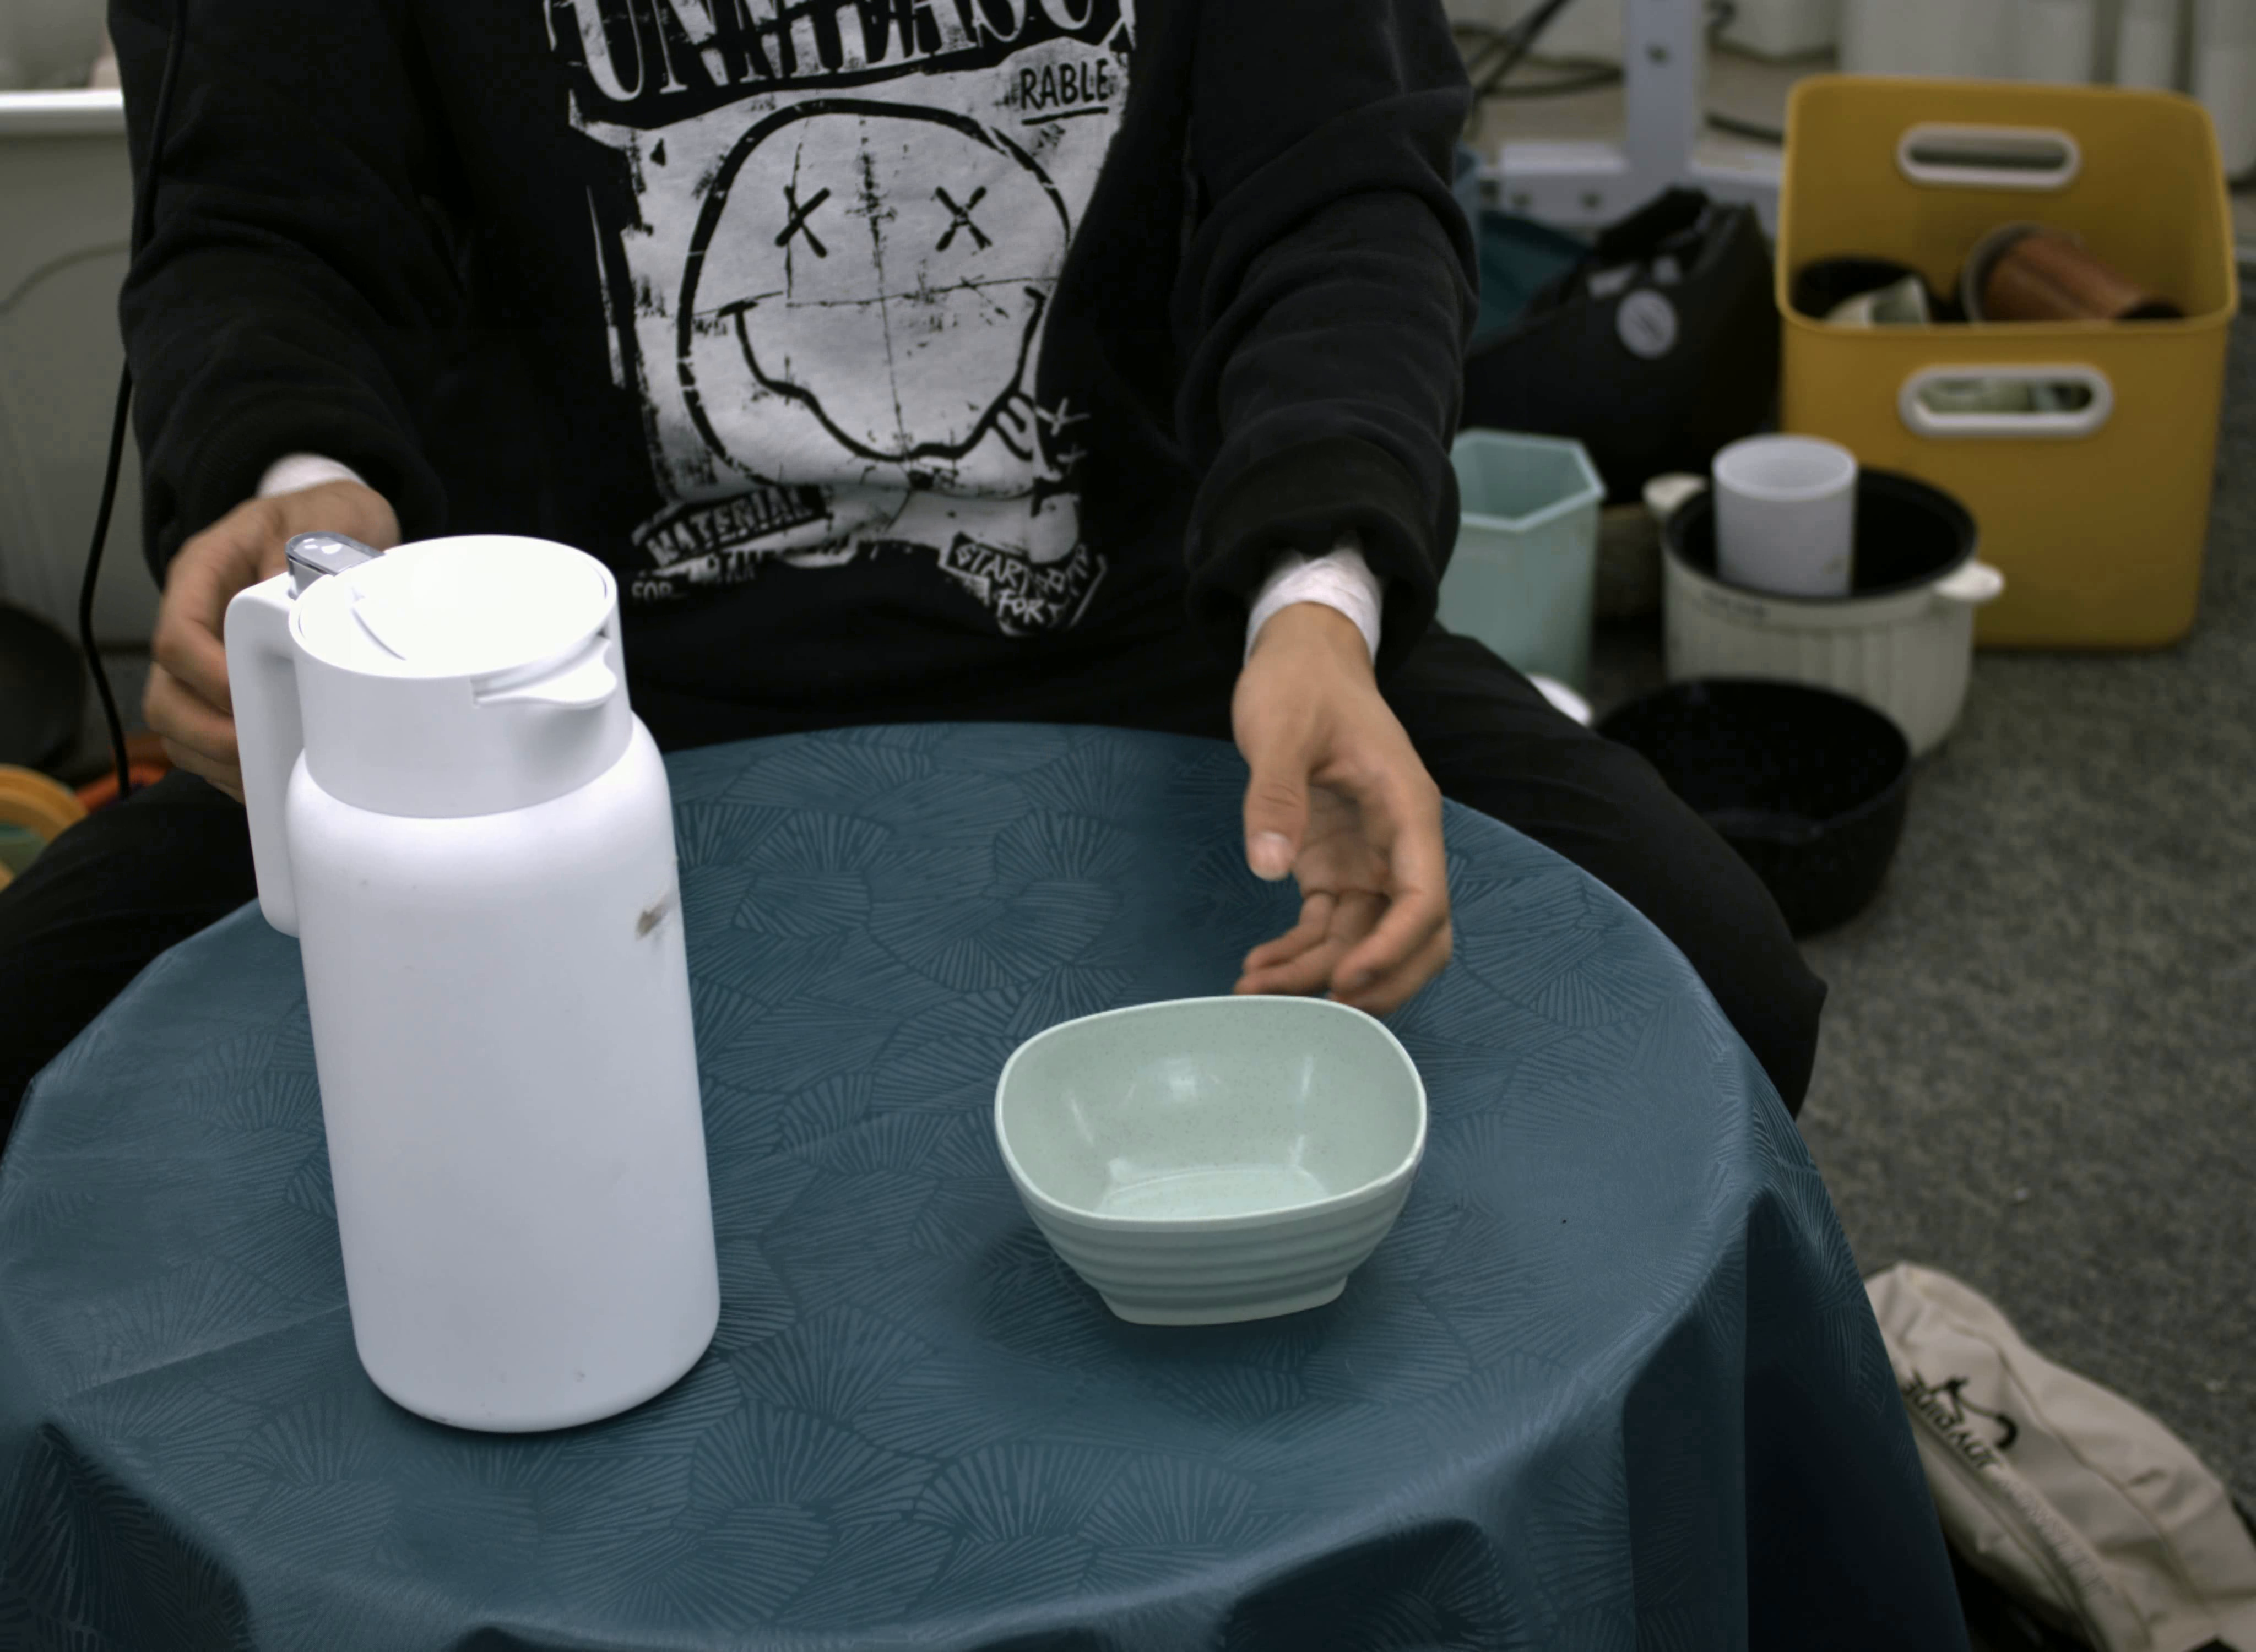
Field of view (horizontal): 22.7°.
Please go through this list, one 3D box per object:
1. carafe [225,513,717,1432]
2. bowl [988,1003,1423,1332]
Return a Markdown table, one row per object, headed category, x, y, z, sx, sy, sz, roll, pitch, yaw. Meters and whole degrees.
| category | x | y | z | sx | sy | sz | roll | pitch | yaw |
| --- | --- | --- | --- | --- | --- | --- | --- | --- | --- |
| carafe | -0.208 | 0.043 | 1.744 | 0.172 | 0.266 | 0.125 | 21 | 37 | 39 |
| bowl | 0.026 | 0.116 | 1.811 | 0.151 | 0.058 | 0.154 | -2 | 27 | 1 |
